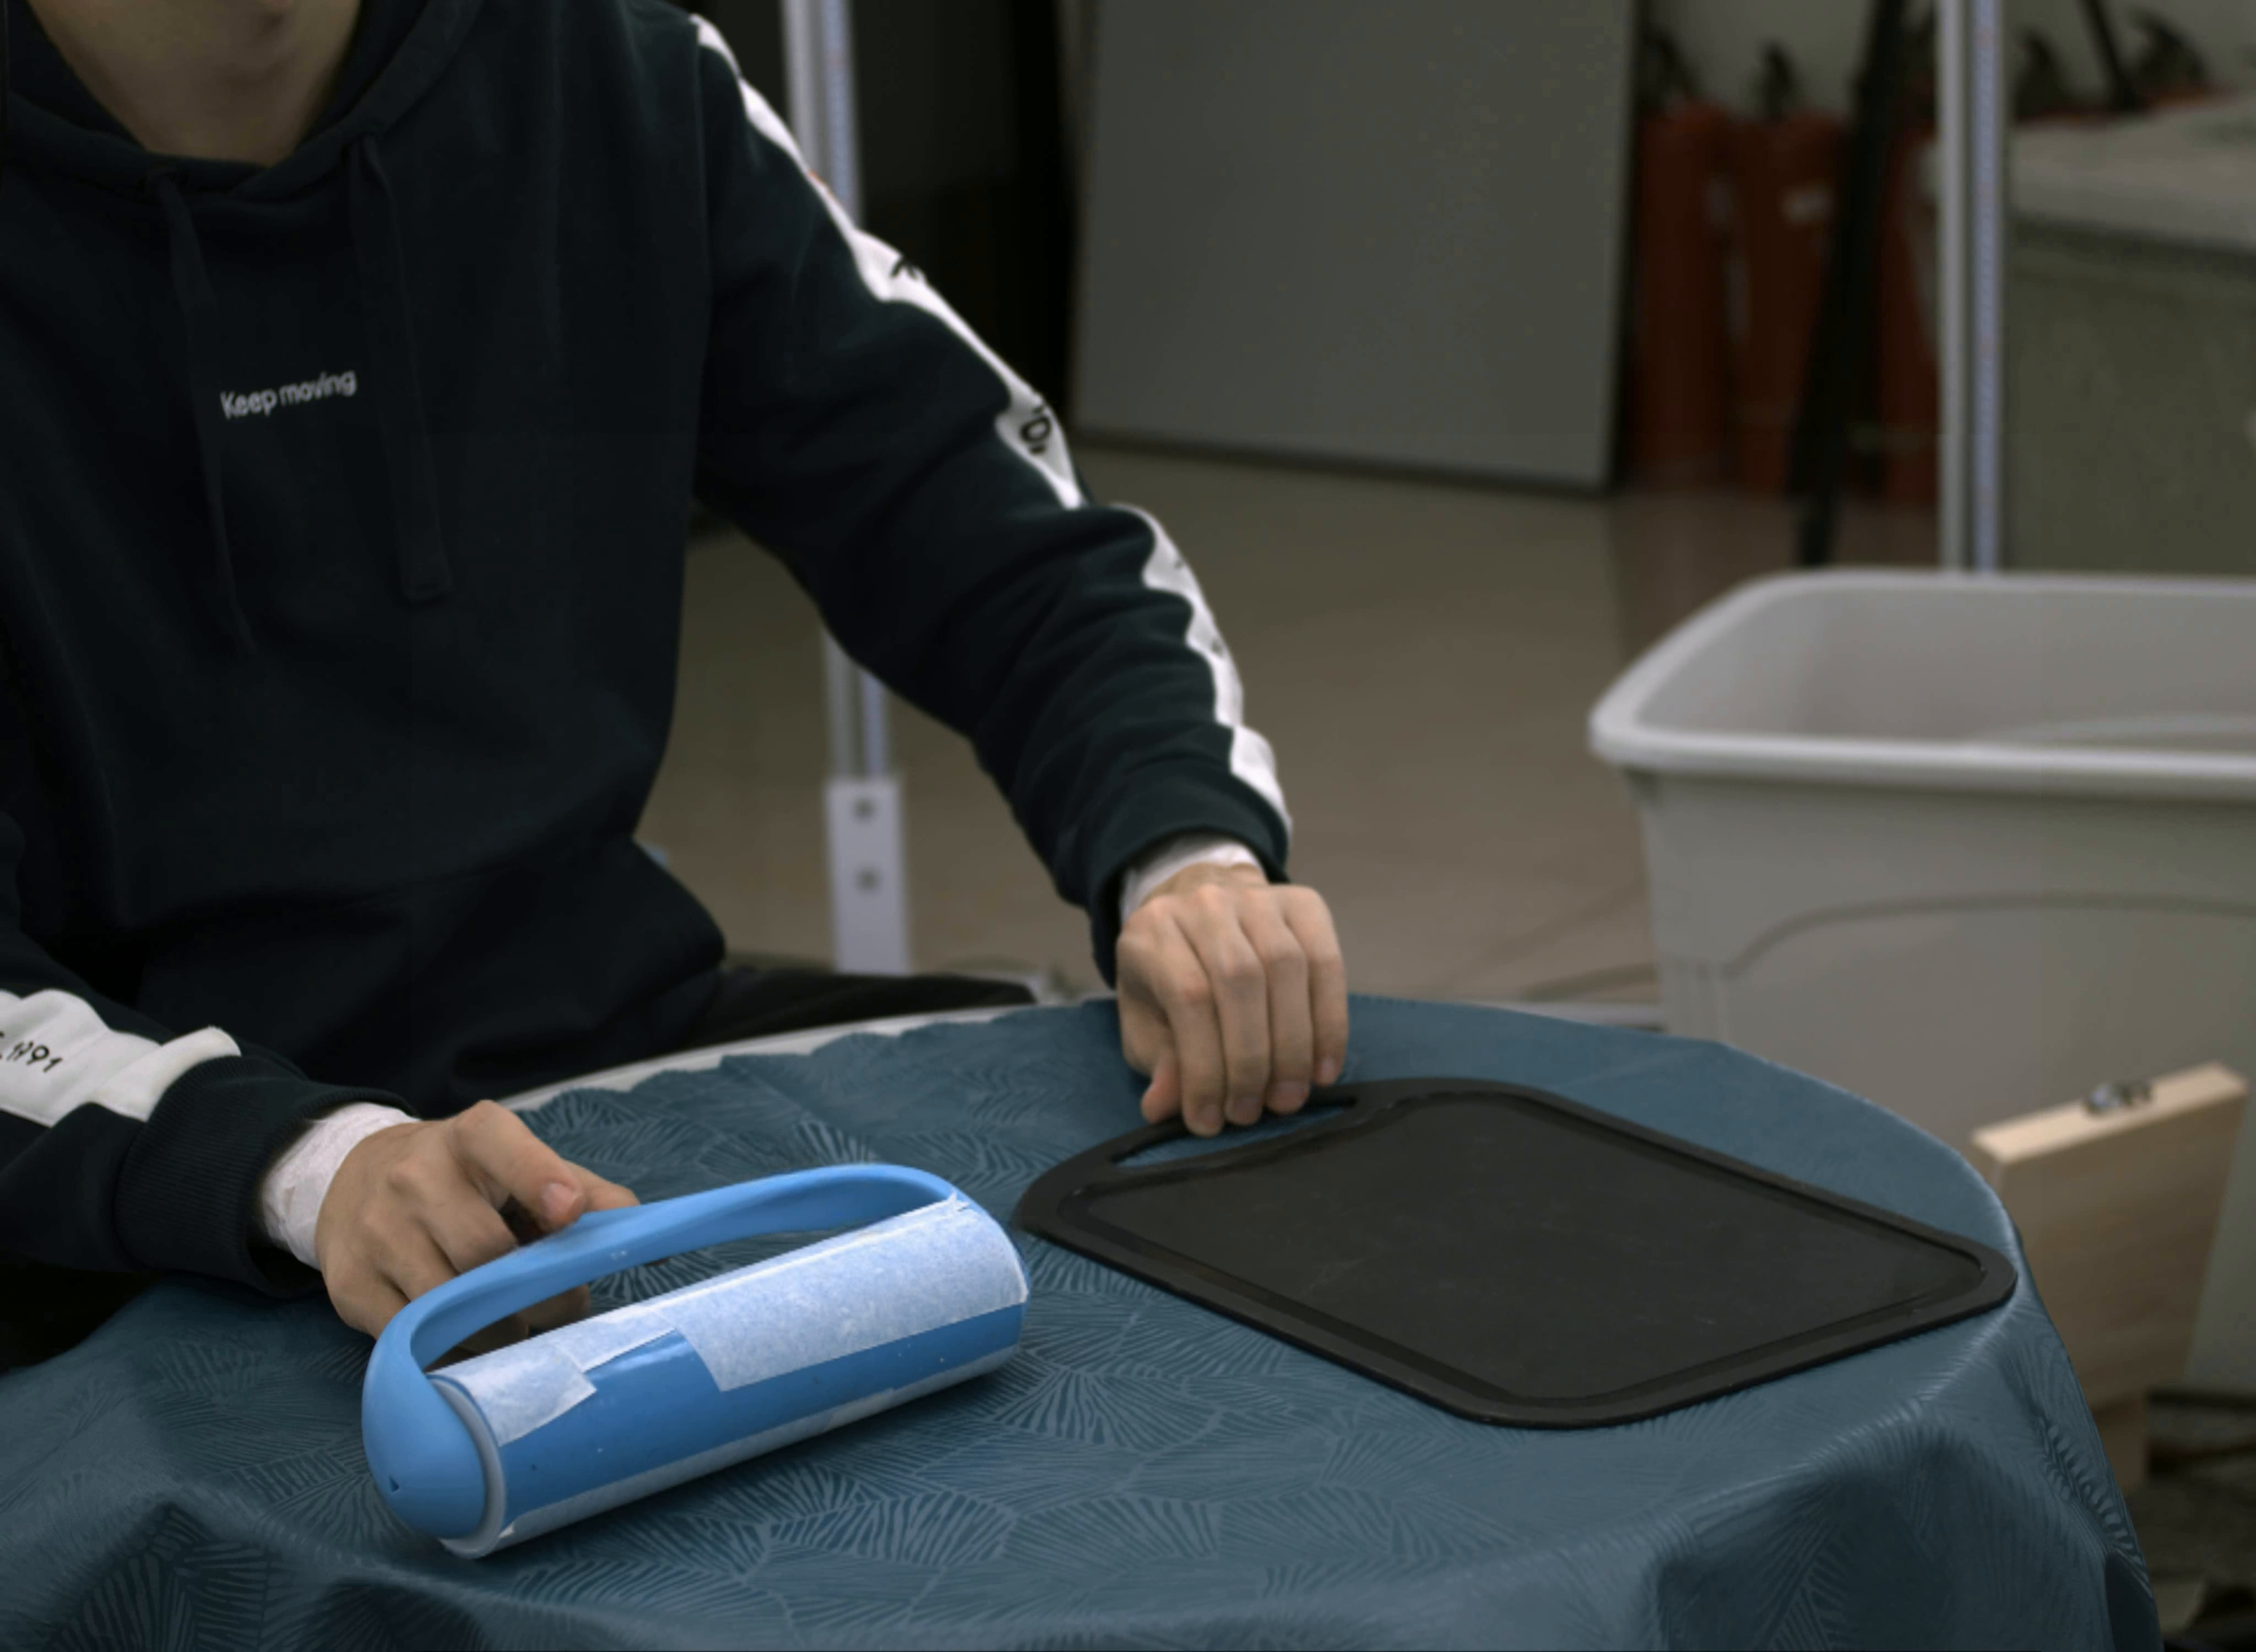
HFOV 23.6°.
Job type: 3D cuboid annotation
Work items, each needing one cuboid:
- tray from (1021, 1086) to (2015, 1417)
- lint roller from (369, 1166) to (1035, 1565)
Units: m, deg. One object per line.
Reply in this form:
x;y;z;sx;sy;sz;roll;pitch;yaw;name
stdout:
0.111;0.127;1.699;0.206;0.010;0.329;-13;16;-31;tray
-0.157;0.148;1.591;0.224;0.068;0.182;-19;21;-41;lint roller
